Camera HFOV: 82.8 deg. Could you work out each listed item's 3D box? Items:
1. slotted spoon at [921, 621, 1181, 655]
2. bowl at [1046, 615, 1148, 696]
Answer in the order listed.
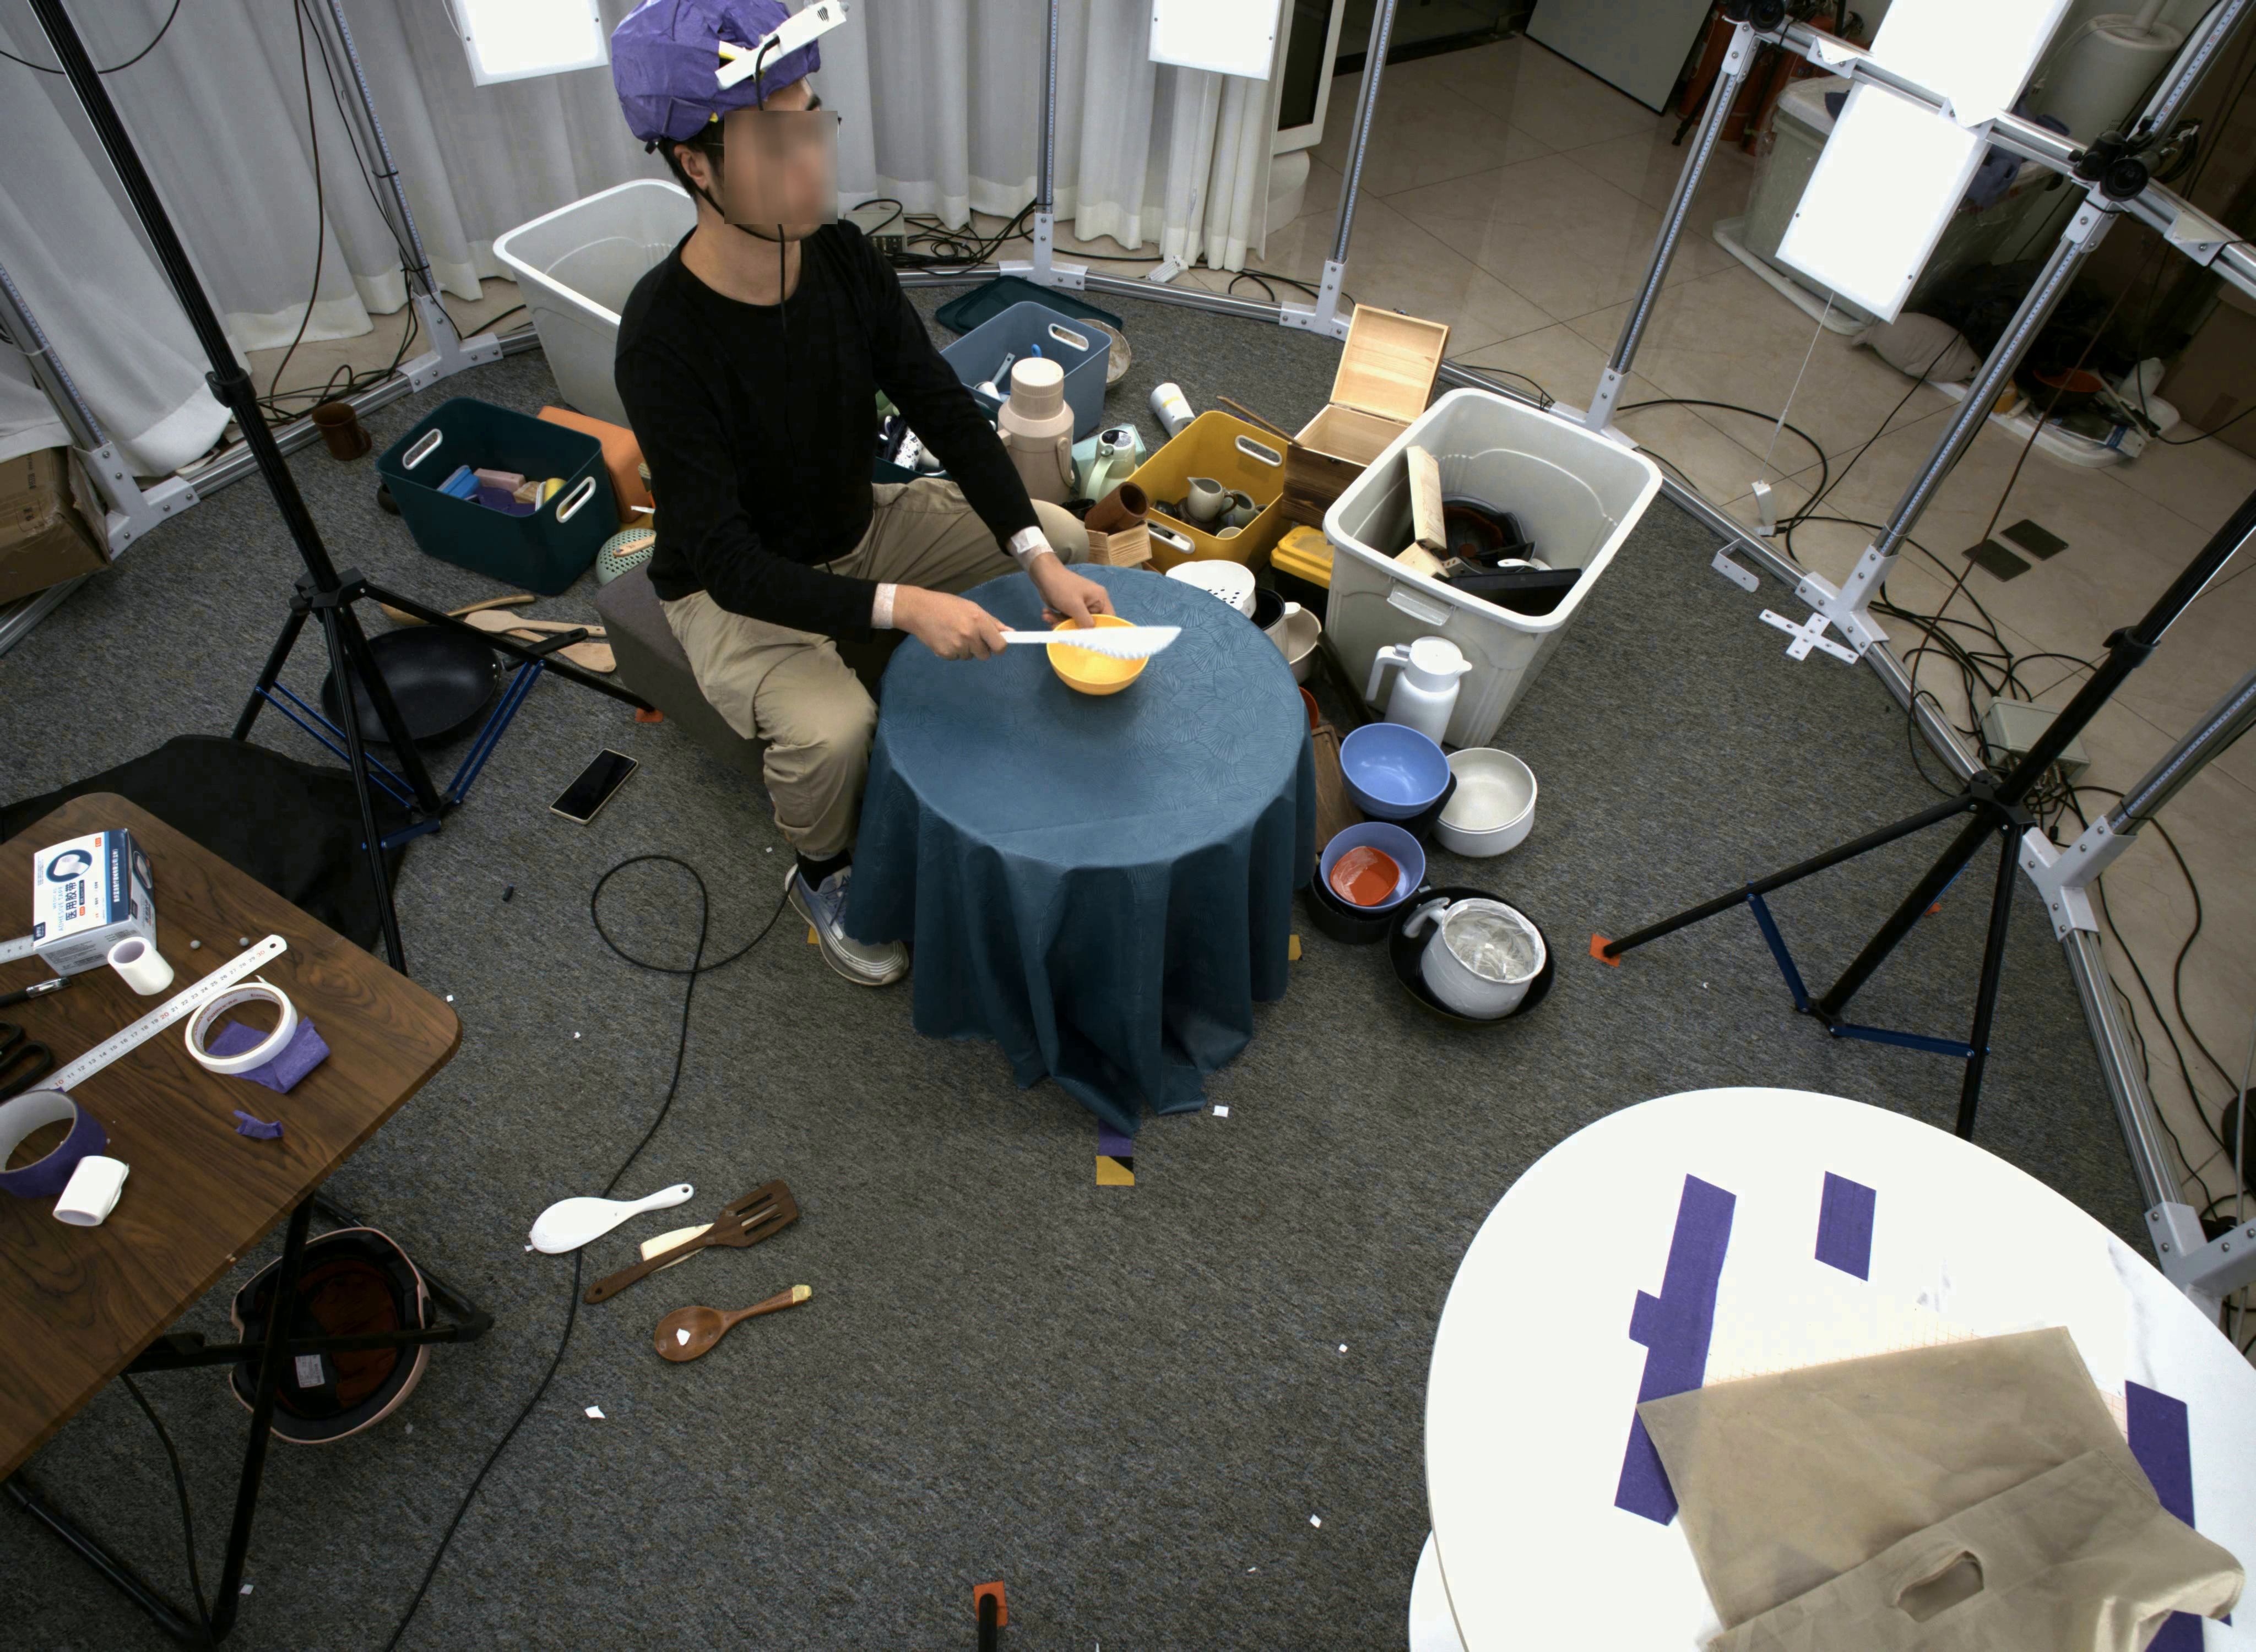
[{"bbox_3d":[-0.104,-0.256,1.711,0.350,0.045,0.136,4,5,9],"label":"slotted spoon"},{"bbox_3d":[-0.047,-0.232,1.831,0.145,0.059,0.149,3,49,-4],"label":"bowl"}]
